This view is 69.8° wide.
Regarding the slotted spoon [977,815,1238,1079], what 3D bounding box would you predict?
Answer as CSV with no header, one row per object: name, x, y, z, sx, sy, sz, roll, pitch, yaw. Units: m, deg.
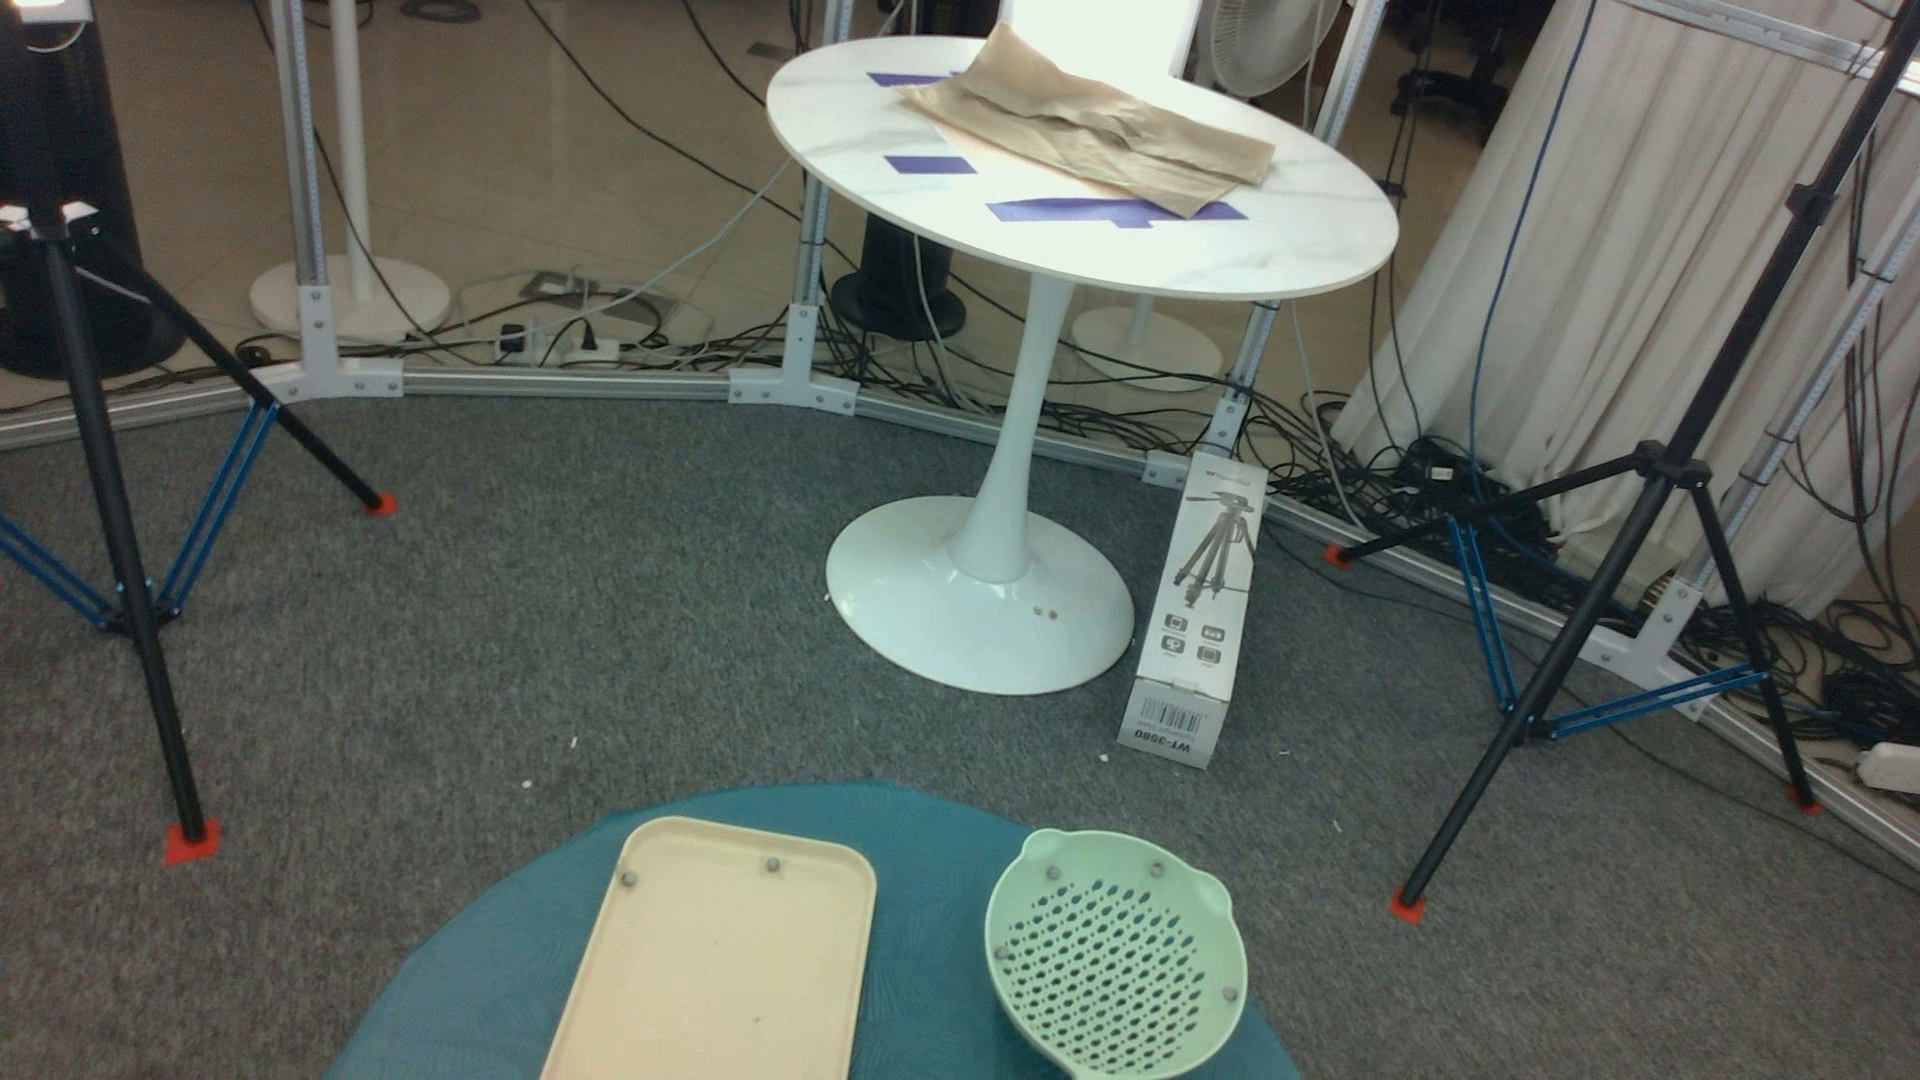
slotted spoon,0.070,0.321,0.808,0.169,0.075,0.360,15,36,3

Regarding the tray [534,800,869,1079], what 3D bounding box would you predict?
tray,-0.151,0.265,0.850,0.171,0.017,0.241,11,37,-4
